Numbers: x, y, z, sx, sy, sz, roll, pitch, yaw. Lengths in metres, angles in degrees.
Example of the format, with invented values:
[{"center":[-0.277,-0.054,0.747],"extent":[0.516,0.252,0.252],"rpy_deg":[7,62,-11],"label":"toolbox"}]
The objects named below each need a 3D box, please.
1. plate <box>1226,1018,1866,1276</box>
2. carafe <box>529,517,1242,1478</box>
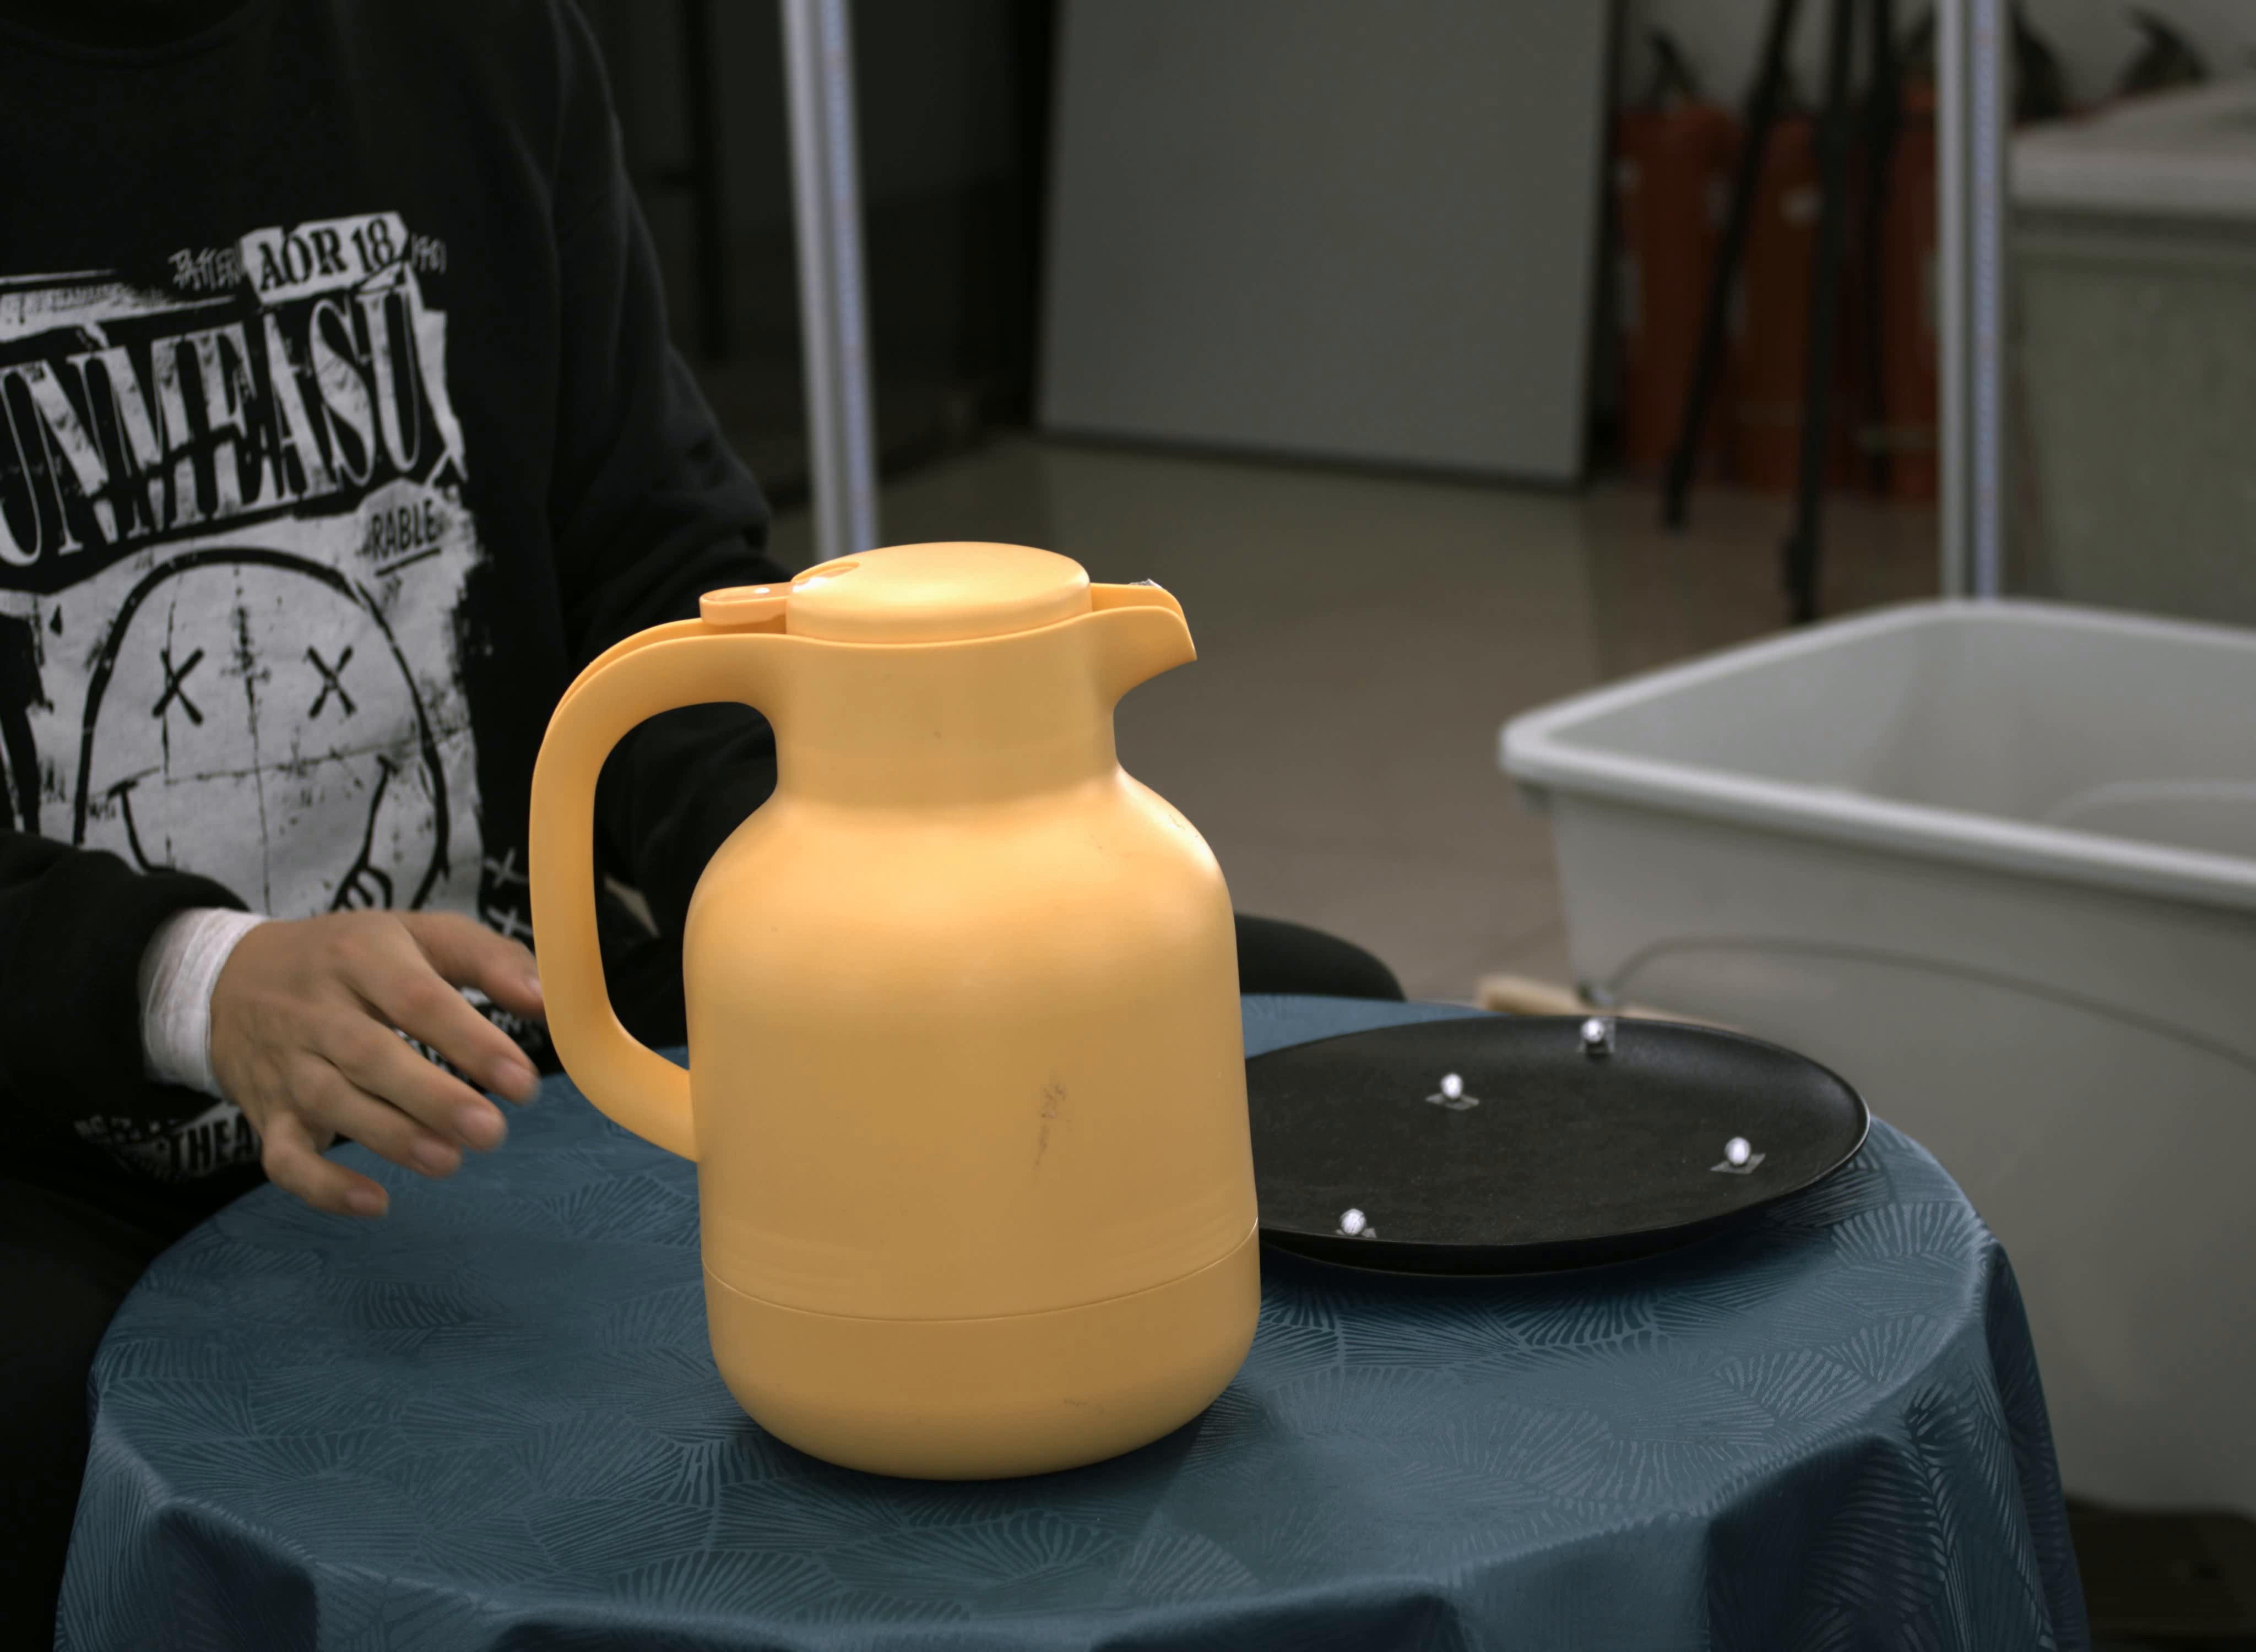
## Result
[{"center":[0.119,0.106,1.748],"extent":[0.241,0.024,0.245],"rpy_deg":[-4,14,0],"label":"plate"},{"center":[-0.069,0.045,1.549],"extent":[0.200,0.263,0.163],"rpy_deg":[-1,11,3],"label":"carafe"}]
